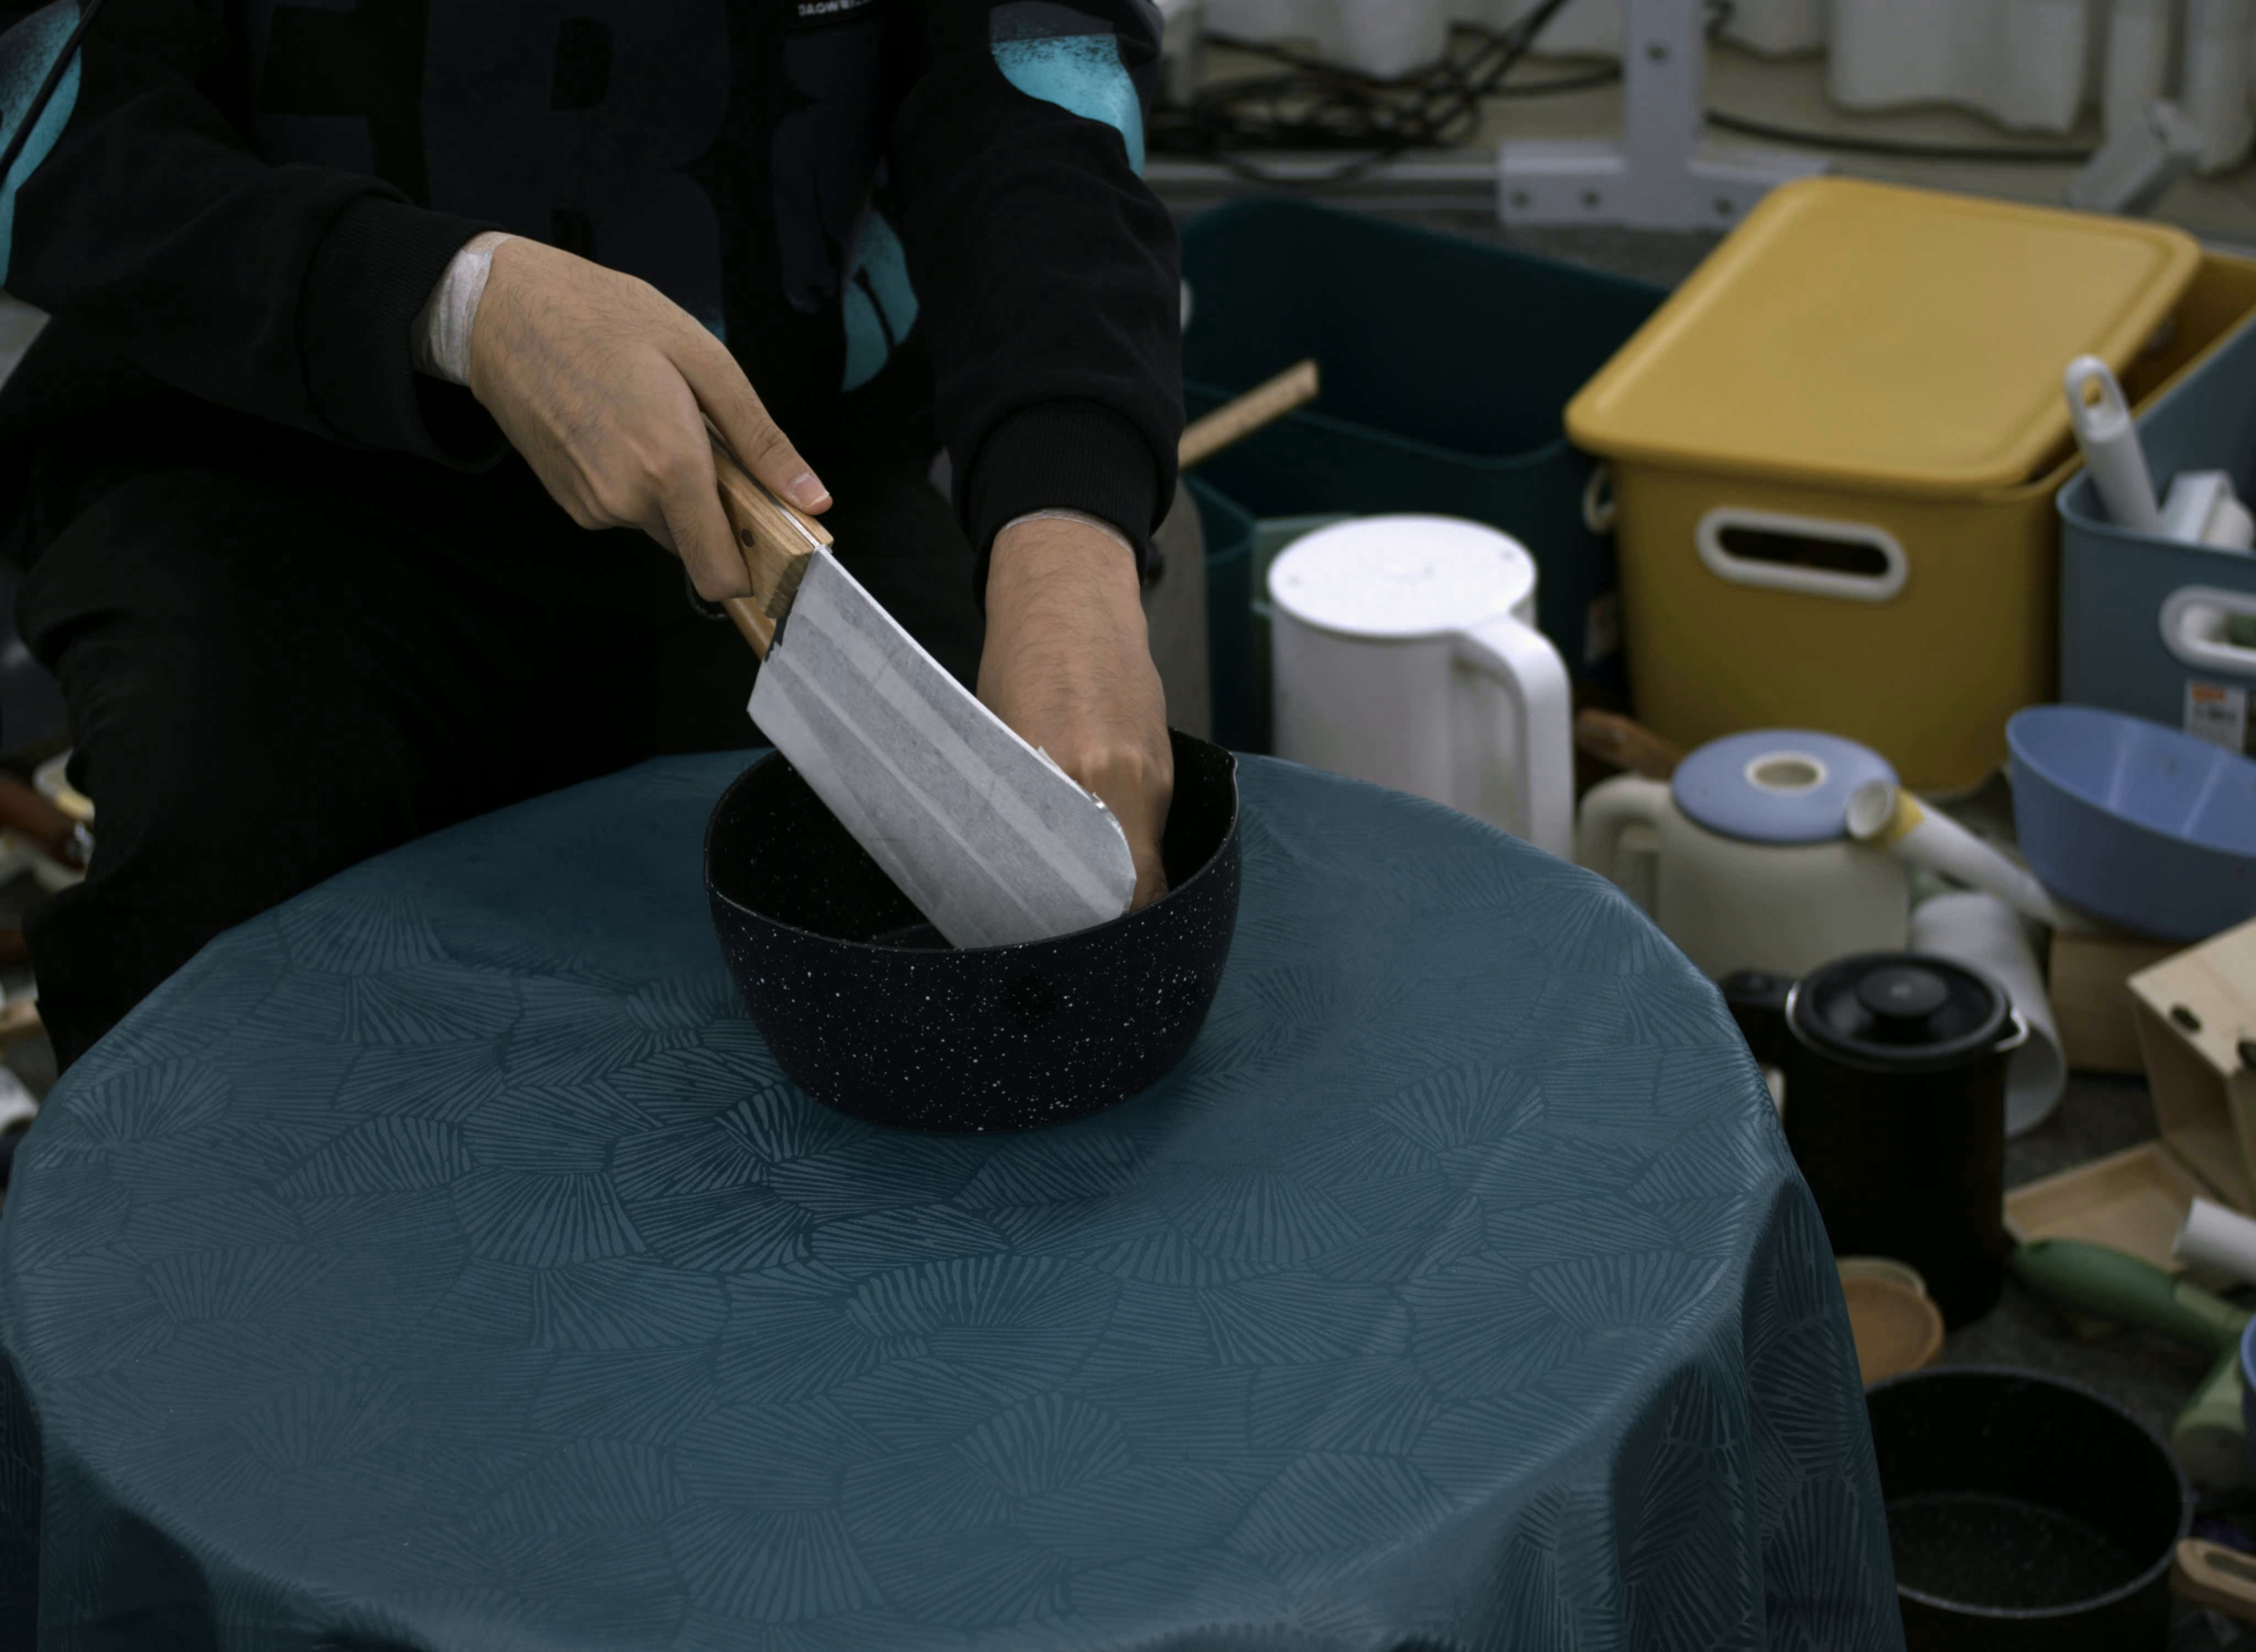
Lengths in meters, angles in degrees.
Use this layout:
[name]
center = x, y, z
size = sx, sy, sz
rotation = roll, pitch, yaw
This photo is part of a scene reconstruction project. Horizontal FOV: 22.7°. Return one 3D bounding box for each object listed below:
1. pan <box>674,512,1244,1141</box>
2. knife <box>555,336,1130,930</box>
[pan]
center = -0.087, -0.008, 2.003
size = 0.208, 0.107, 0.345
rotation = -16, 31, -22
[knife]
center = -0.100, -0.057, 1.941
size = 0.022, 0.112, 0.317
rotation = -19, 58, -41
